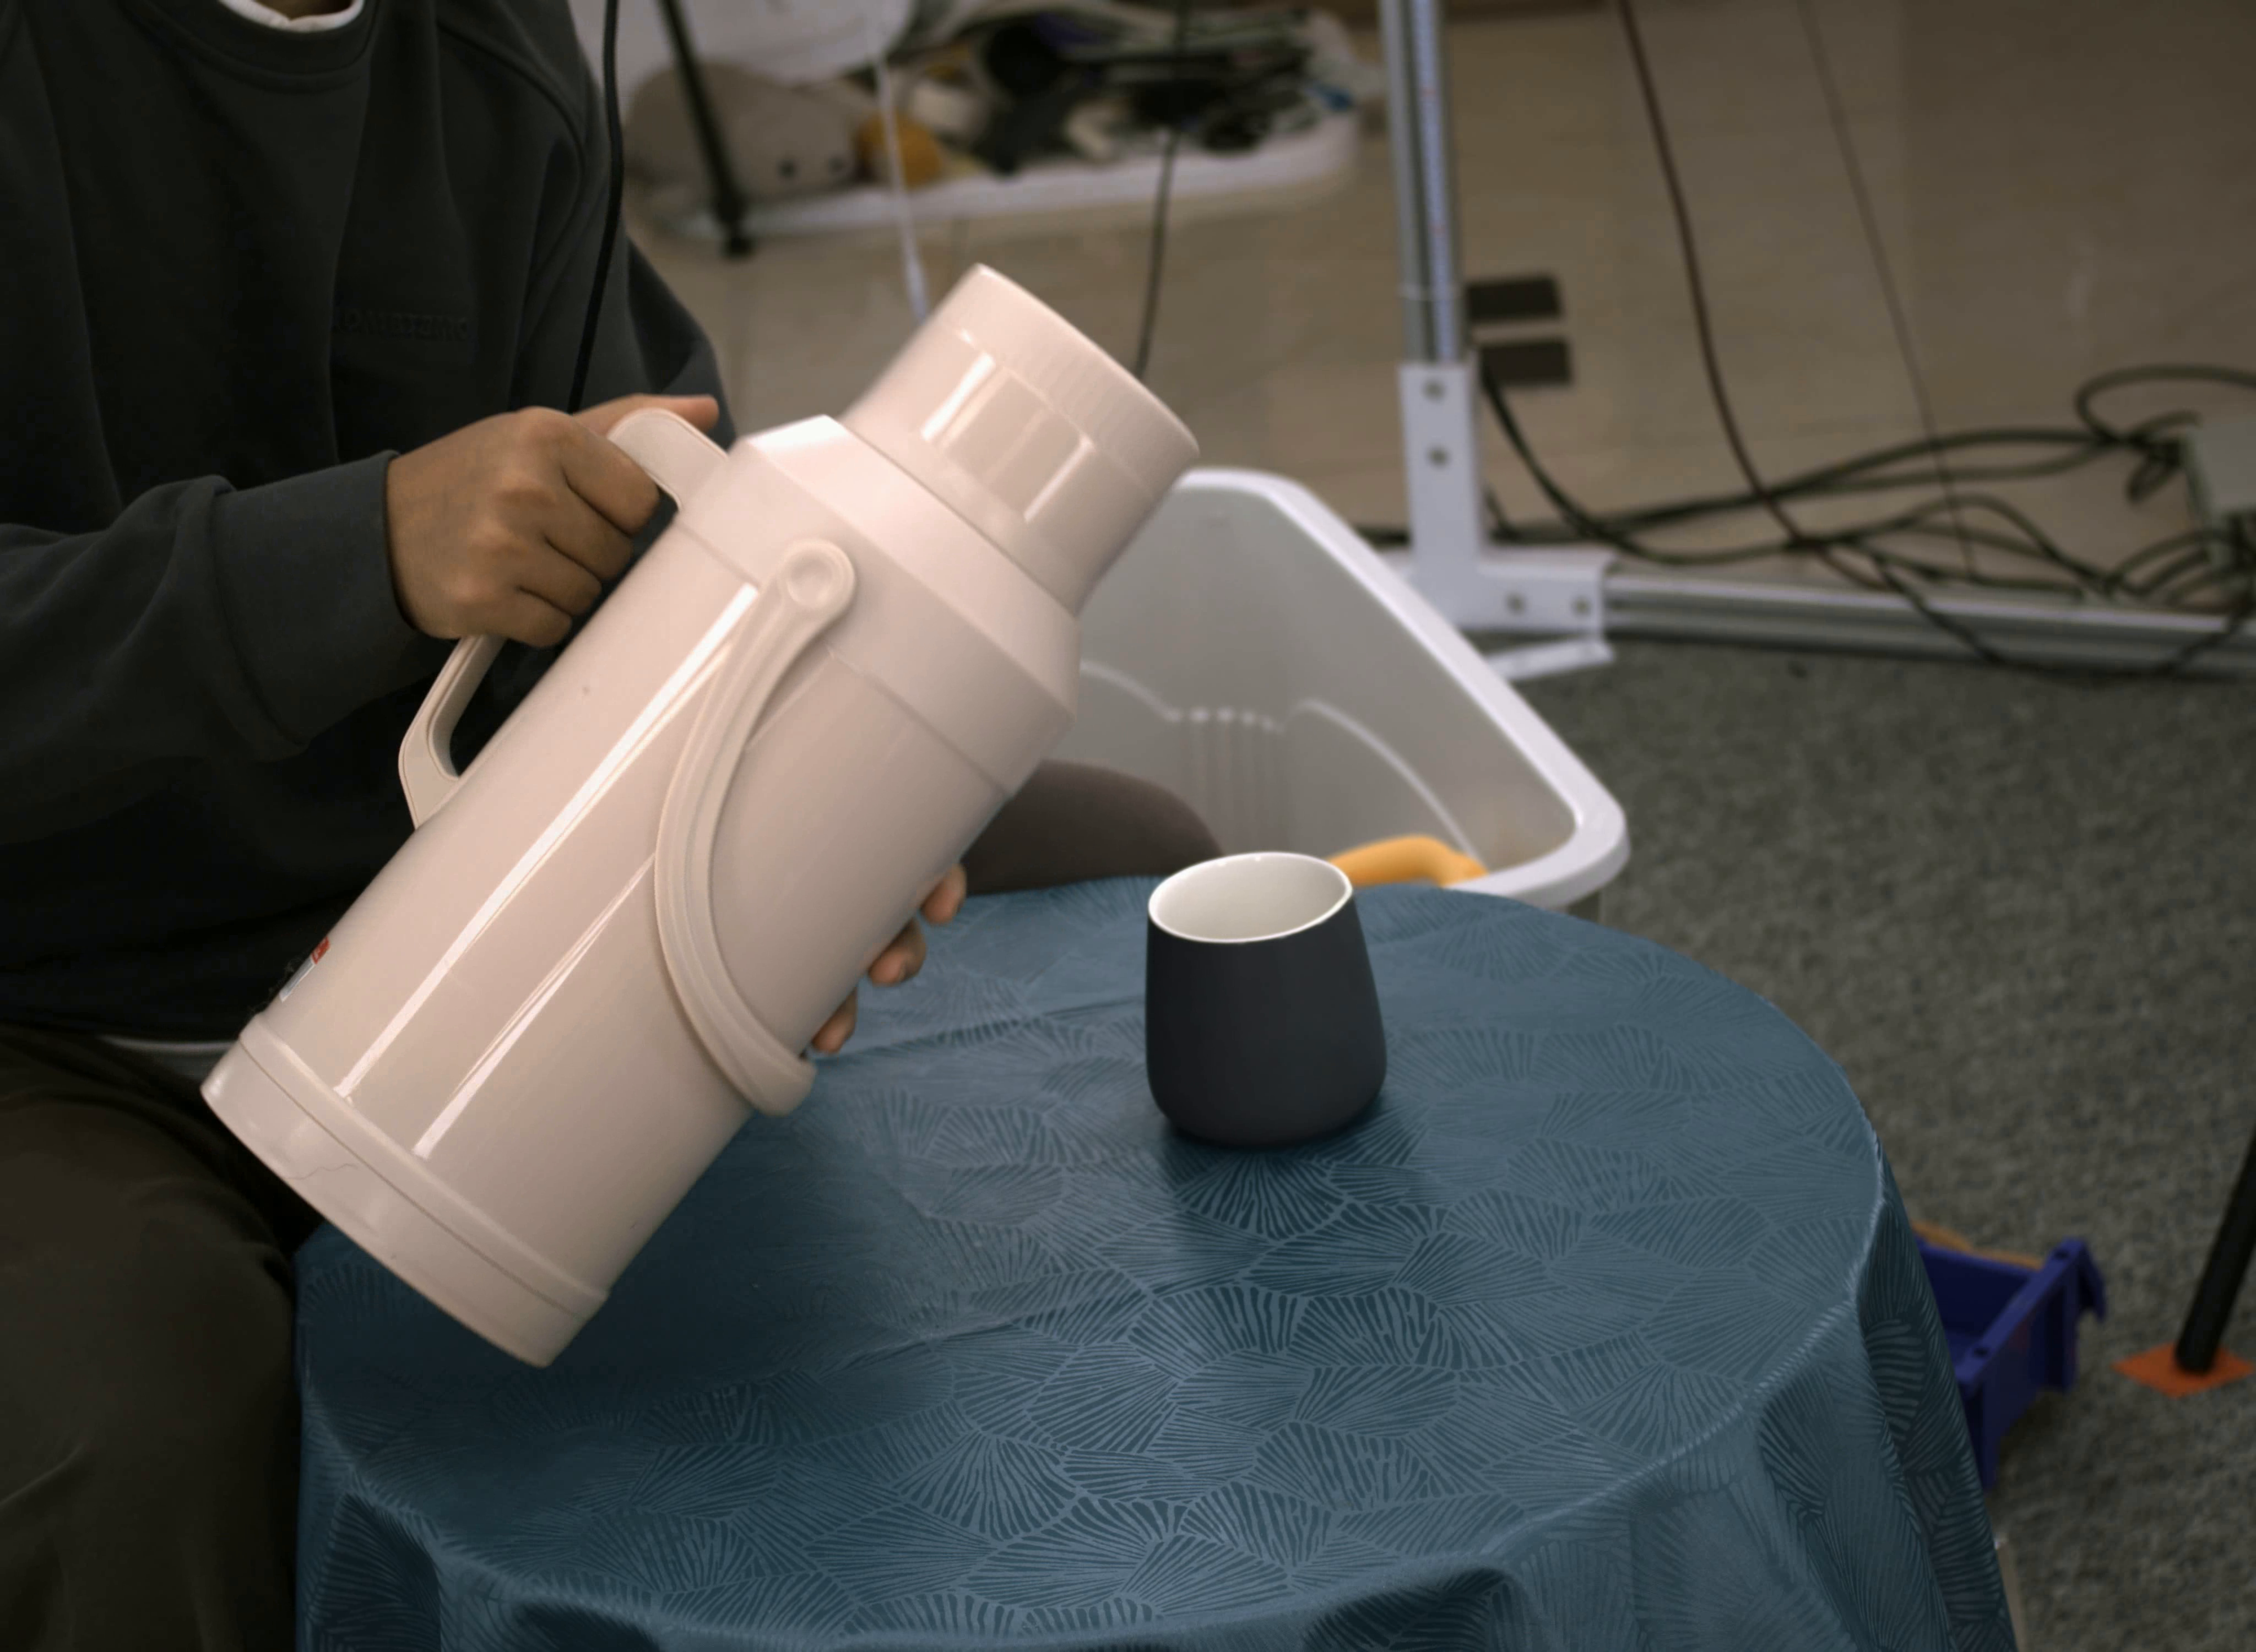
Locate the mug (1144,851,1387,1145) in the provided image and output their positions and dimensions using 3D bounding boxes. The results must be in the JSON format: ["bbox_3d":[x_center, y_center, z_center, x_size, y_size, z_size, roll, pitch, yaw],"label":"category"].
[{"bbox_3d":[0.058,0.061,2.194,0.093,0.091,0.122,7,28,27],"label":"mug"}]

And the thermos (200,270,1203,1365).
[{"bbox_3d":[-0.152,-0.019,2.010,0.206,0.406,0.176,40,-1,11],"label":"thermos"}]
